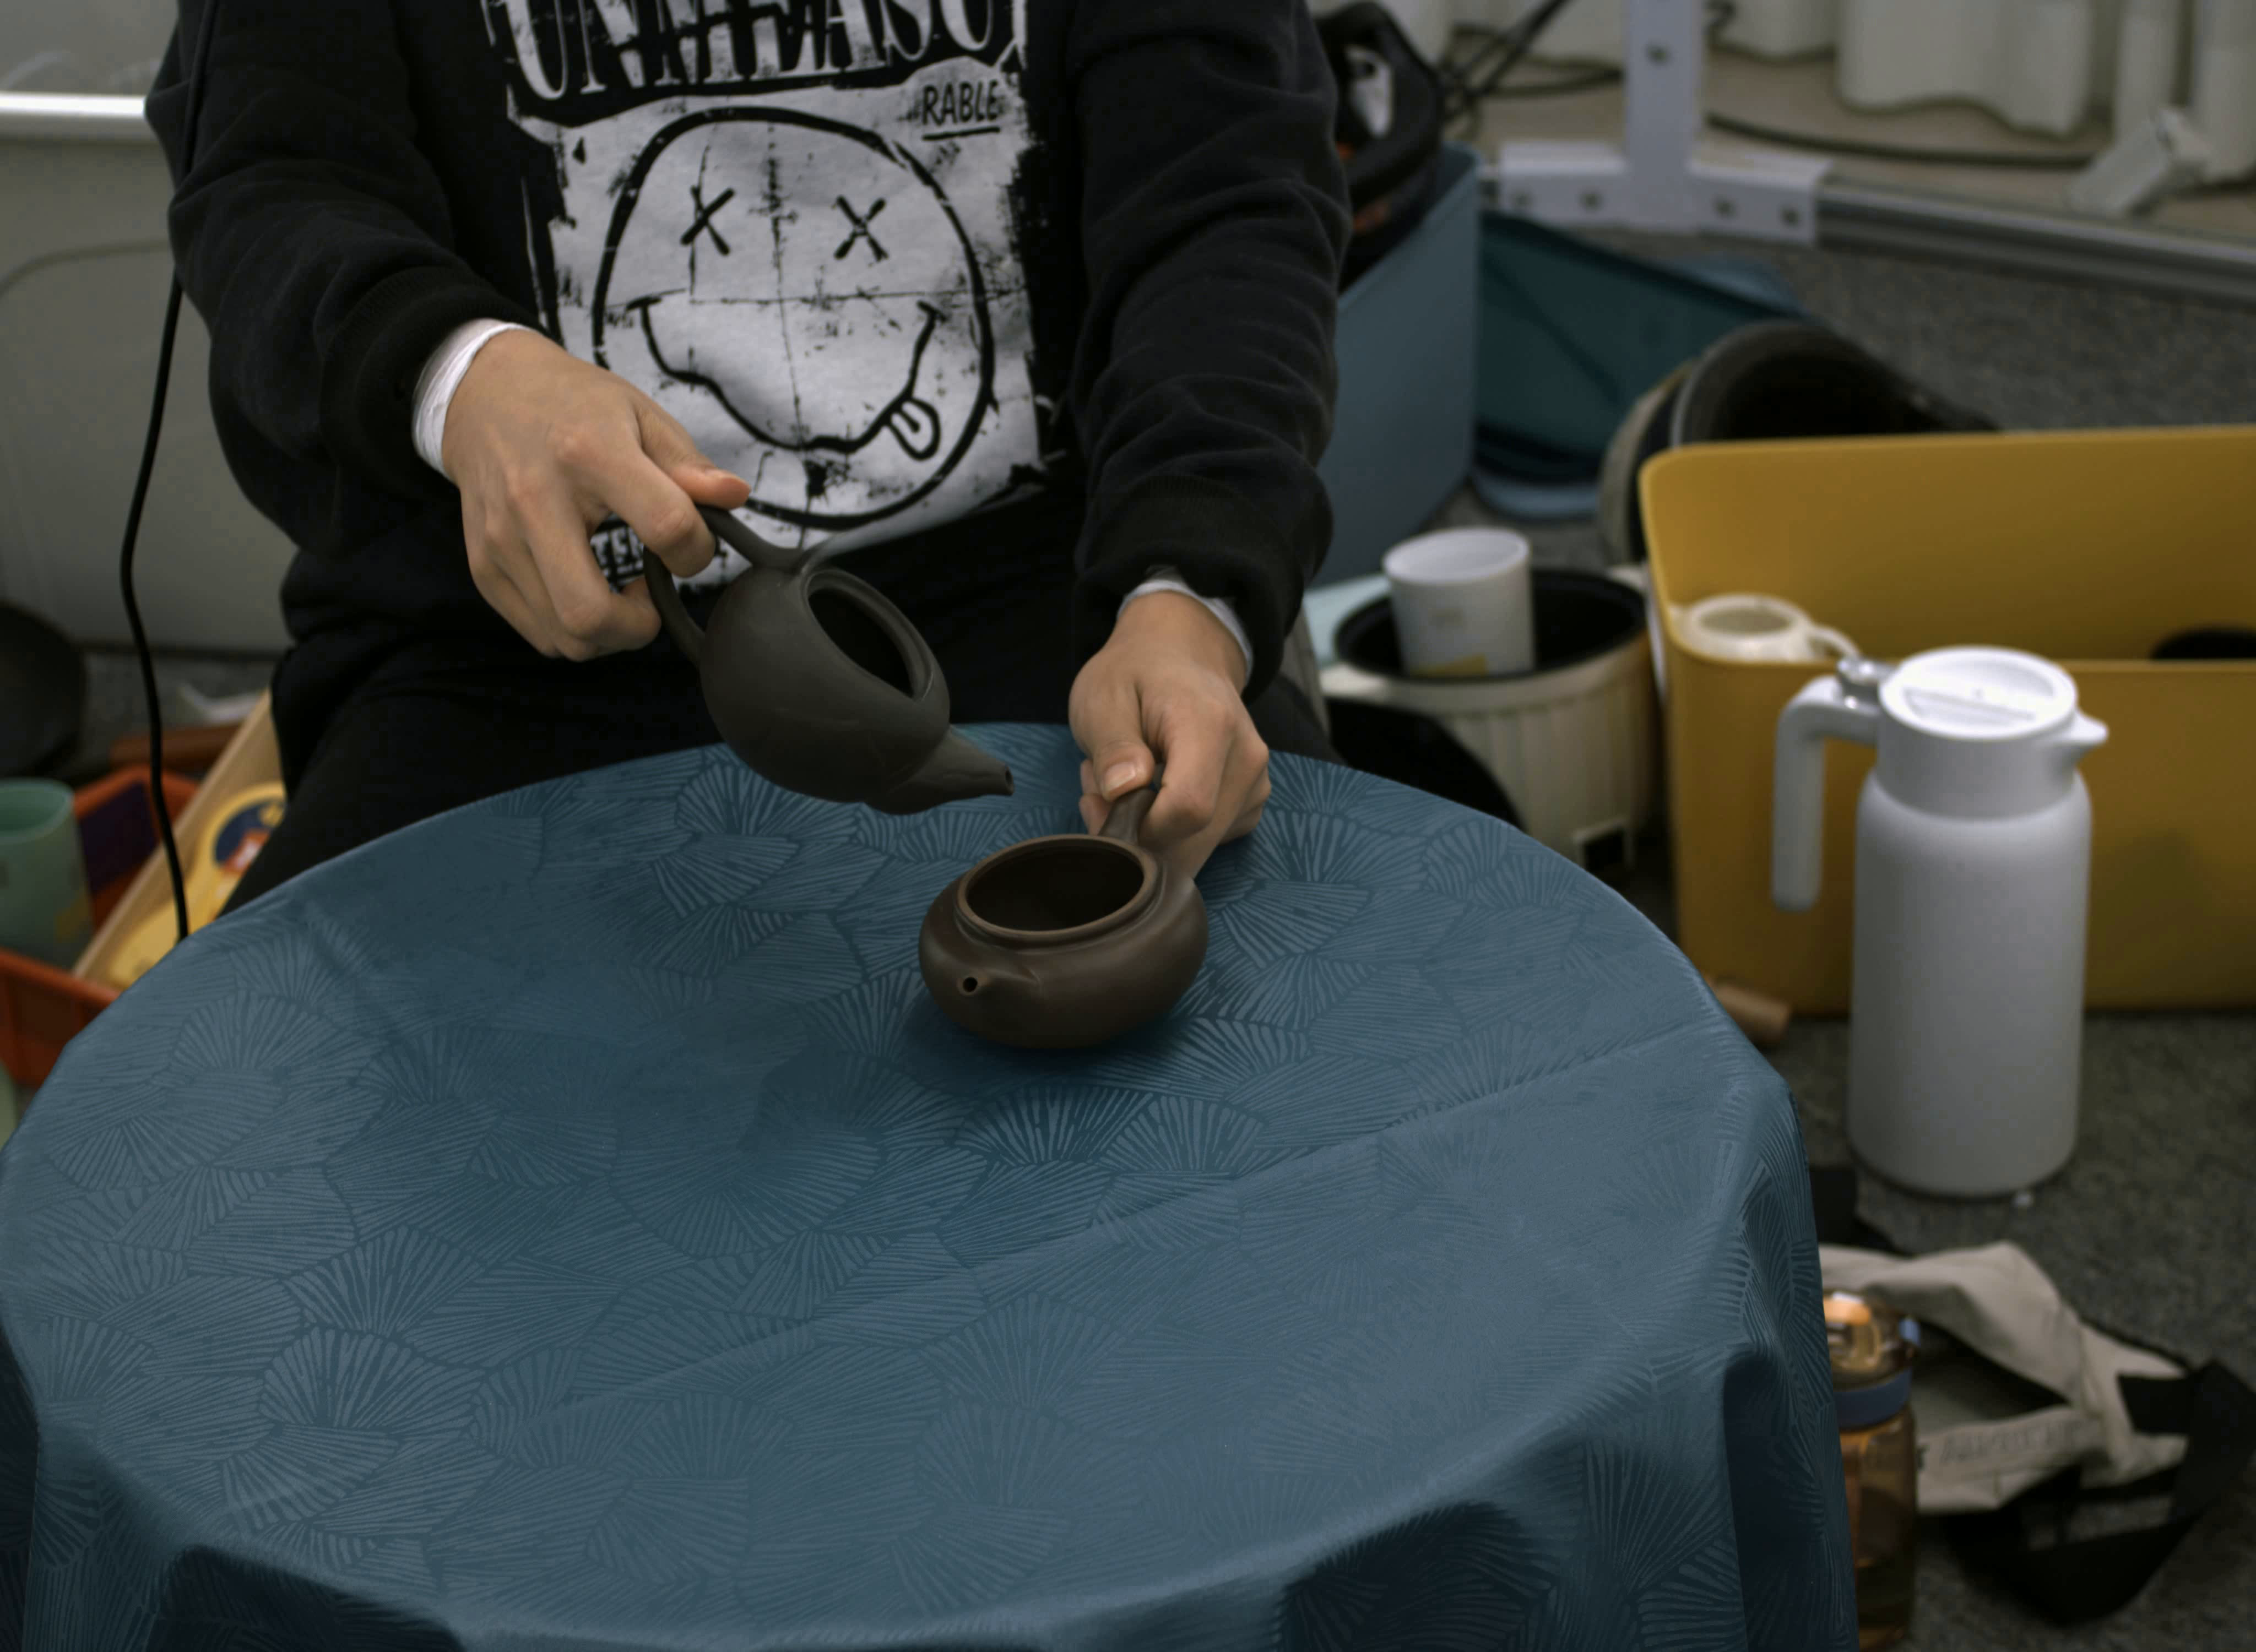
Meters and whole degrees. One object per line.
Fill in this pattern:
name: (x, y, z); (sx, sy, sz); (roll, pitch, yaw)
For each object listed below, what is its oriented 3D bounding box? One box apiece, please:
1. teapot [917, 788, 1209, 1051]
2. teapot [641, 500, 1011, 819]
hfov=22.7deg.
teapot: (-0.021, 0.037, 1.963); (0.102, 0.053, 0.156); (5, 31, 18)
teapot: (-0.108, -0.051, 1.929); (0.154, 0.063, 0.093); (43, 21, -2)
